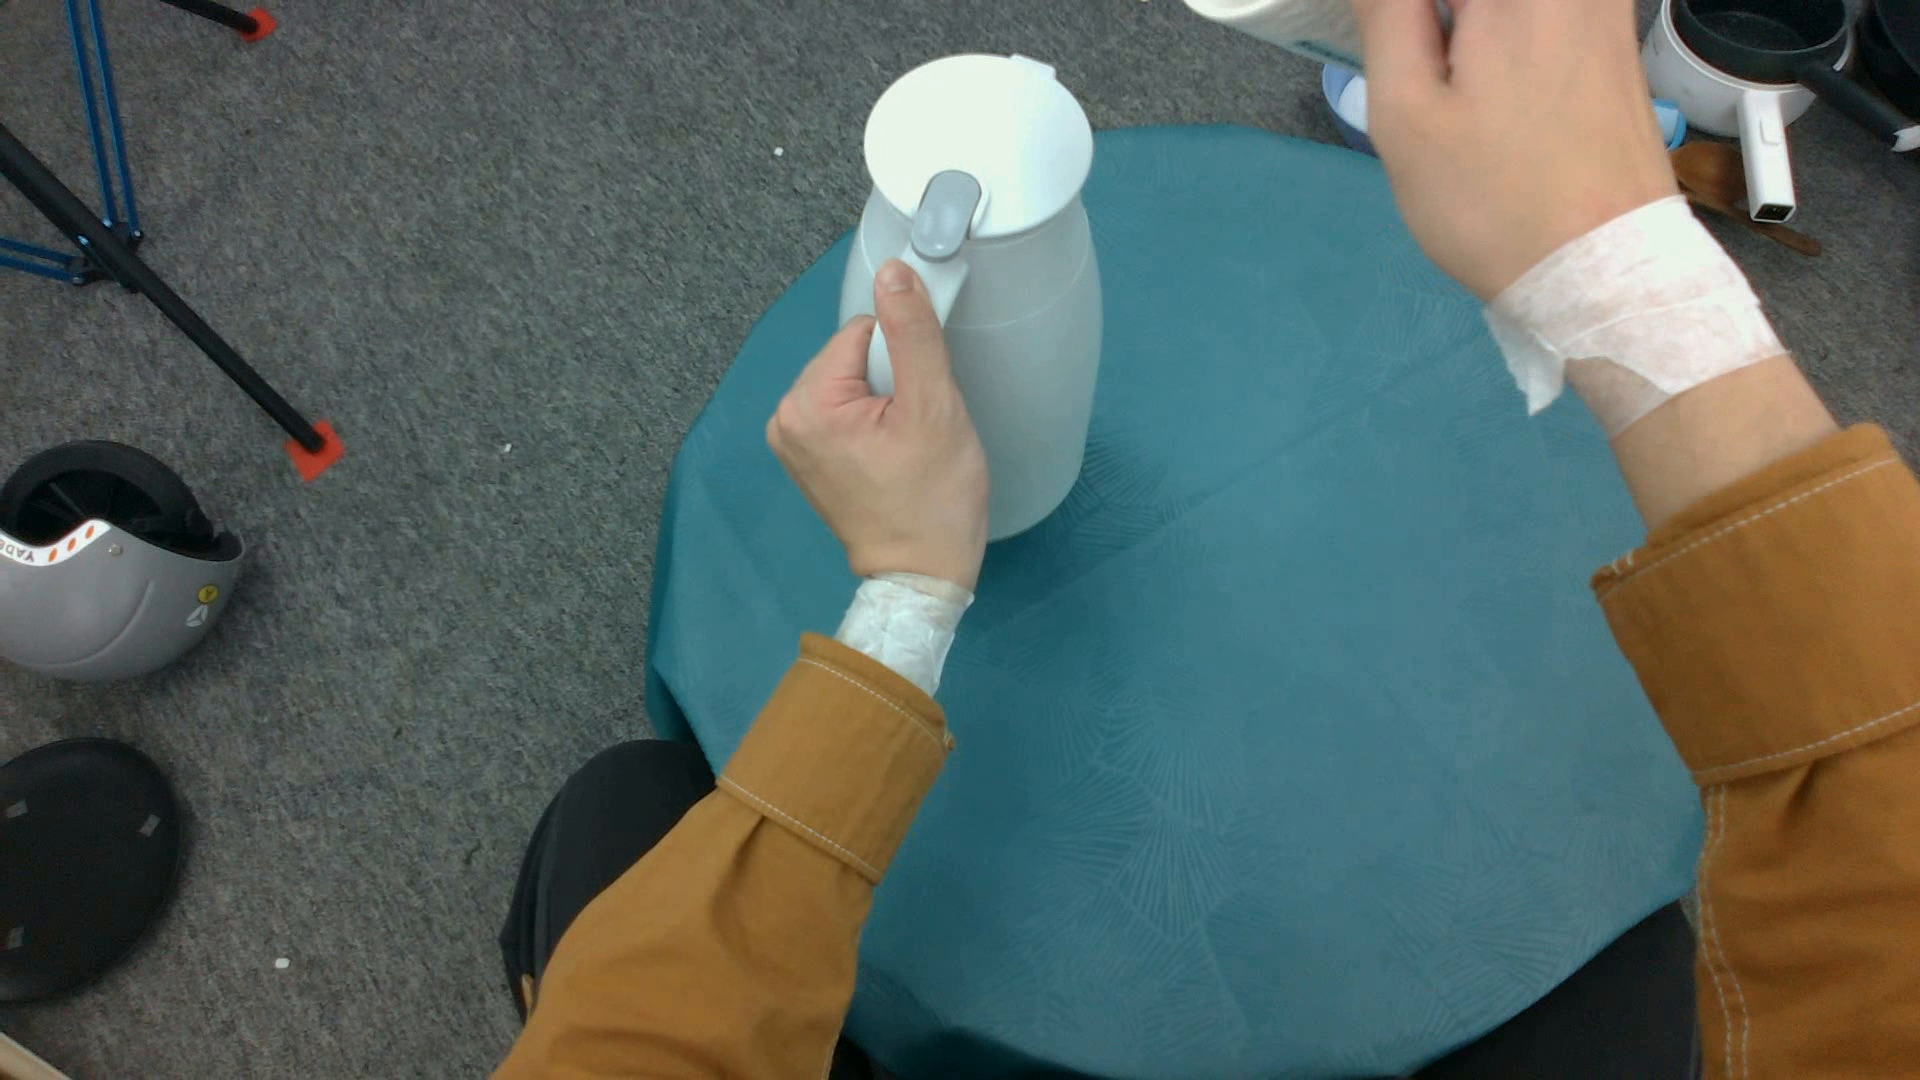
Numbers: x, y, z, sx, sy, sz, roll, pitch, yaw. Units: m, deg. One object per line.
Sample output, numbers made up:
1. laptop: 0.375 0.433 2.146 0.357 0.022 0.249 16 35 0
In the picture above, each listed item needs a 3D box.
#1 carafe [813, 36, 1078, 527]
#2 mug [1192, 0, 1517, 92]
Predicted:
1. carafe: -0.012 -0.101 0.646 0.132 0.247 0.168 20 66 6
2. mug: 0.140 -0.197 0.462 0.102 0.084 0.118 6 41 -39
